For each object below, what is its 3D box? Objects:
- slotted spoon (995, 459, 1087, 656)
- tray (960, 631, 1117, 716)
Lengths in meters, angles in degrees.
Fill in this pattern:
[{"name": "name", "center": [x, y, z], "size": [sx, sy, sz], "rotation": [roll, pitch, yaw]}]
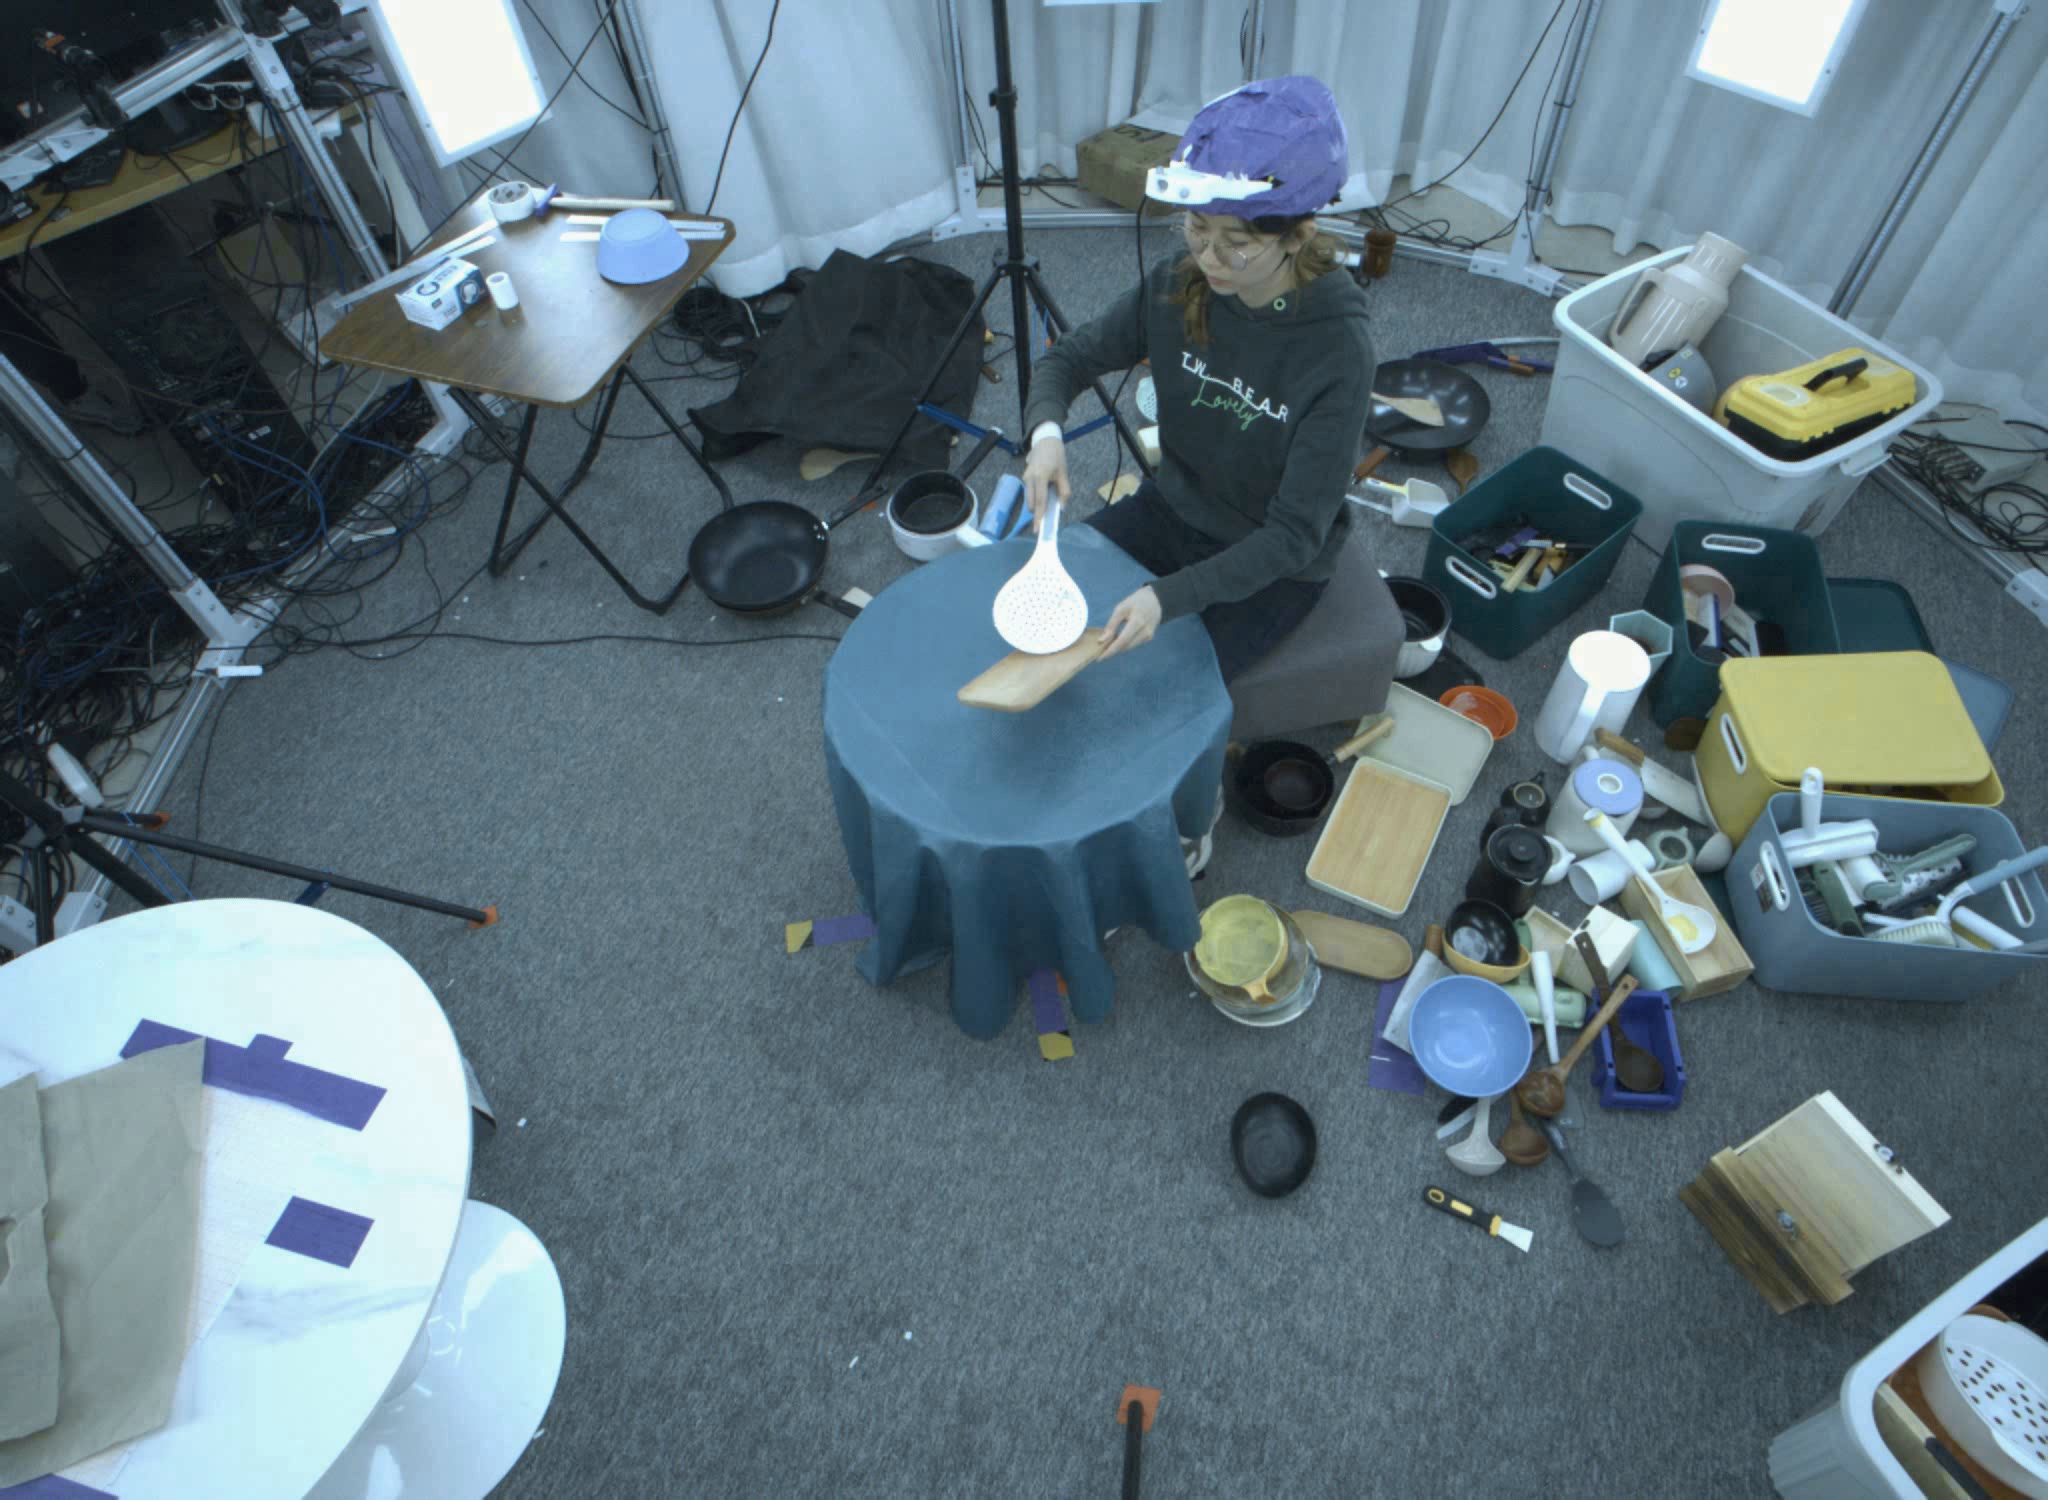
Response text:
[{"name": "slotted spoon", "center": [0.034, -0.293, 1.839], "size": [0.136, 0.046, 0.348], "rotation": [7, 72, -3]}, {"name": "tray", "center": [0.024, -0.112, 1.737], "size": [0.128, 0.023, 0.253], "rotation": [12, 34, 35]}]
